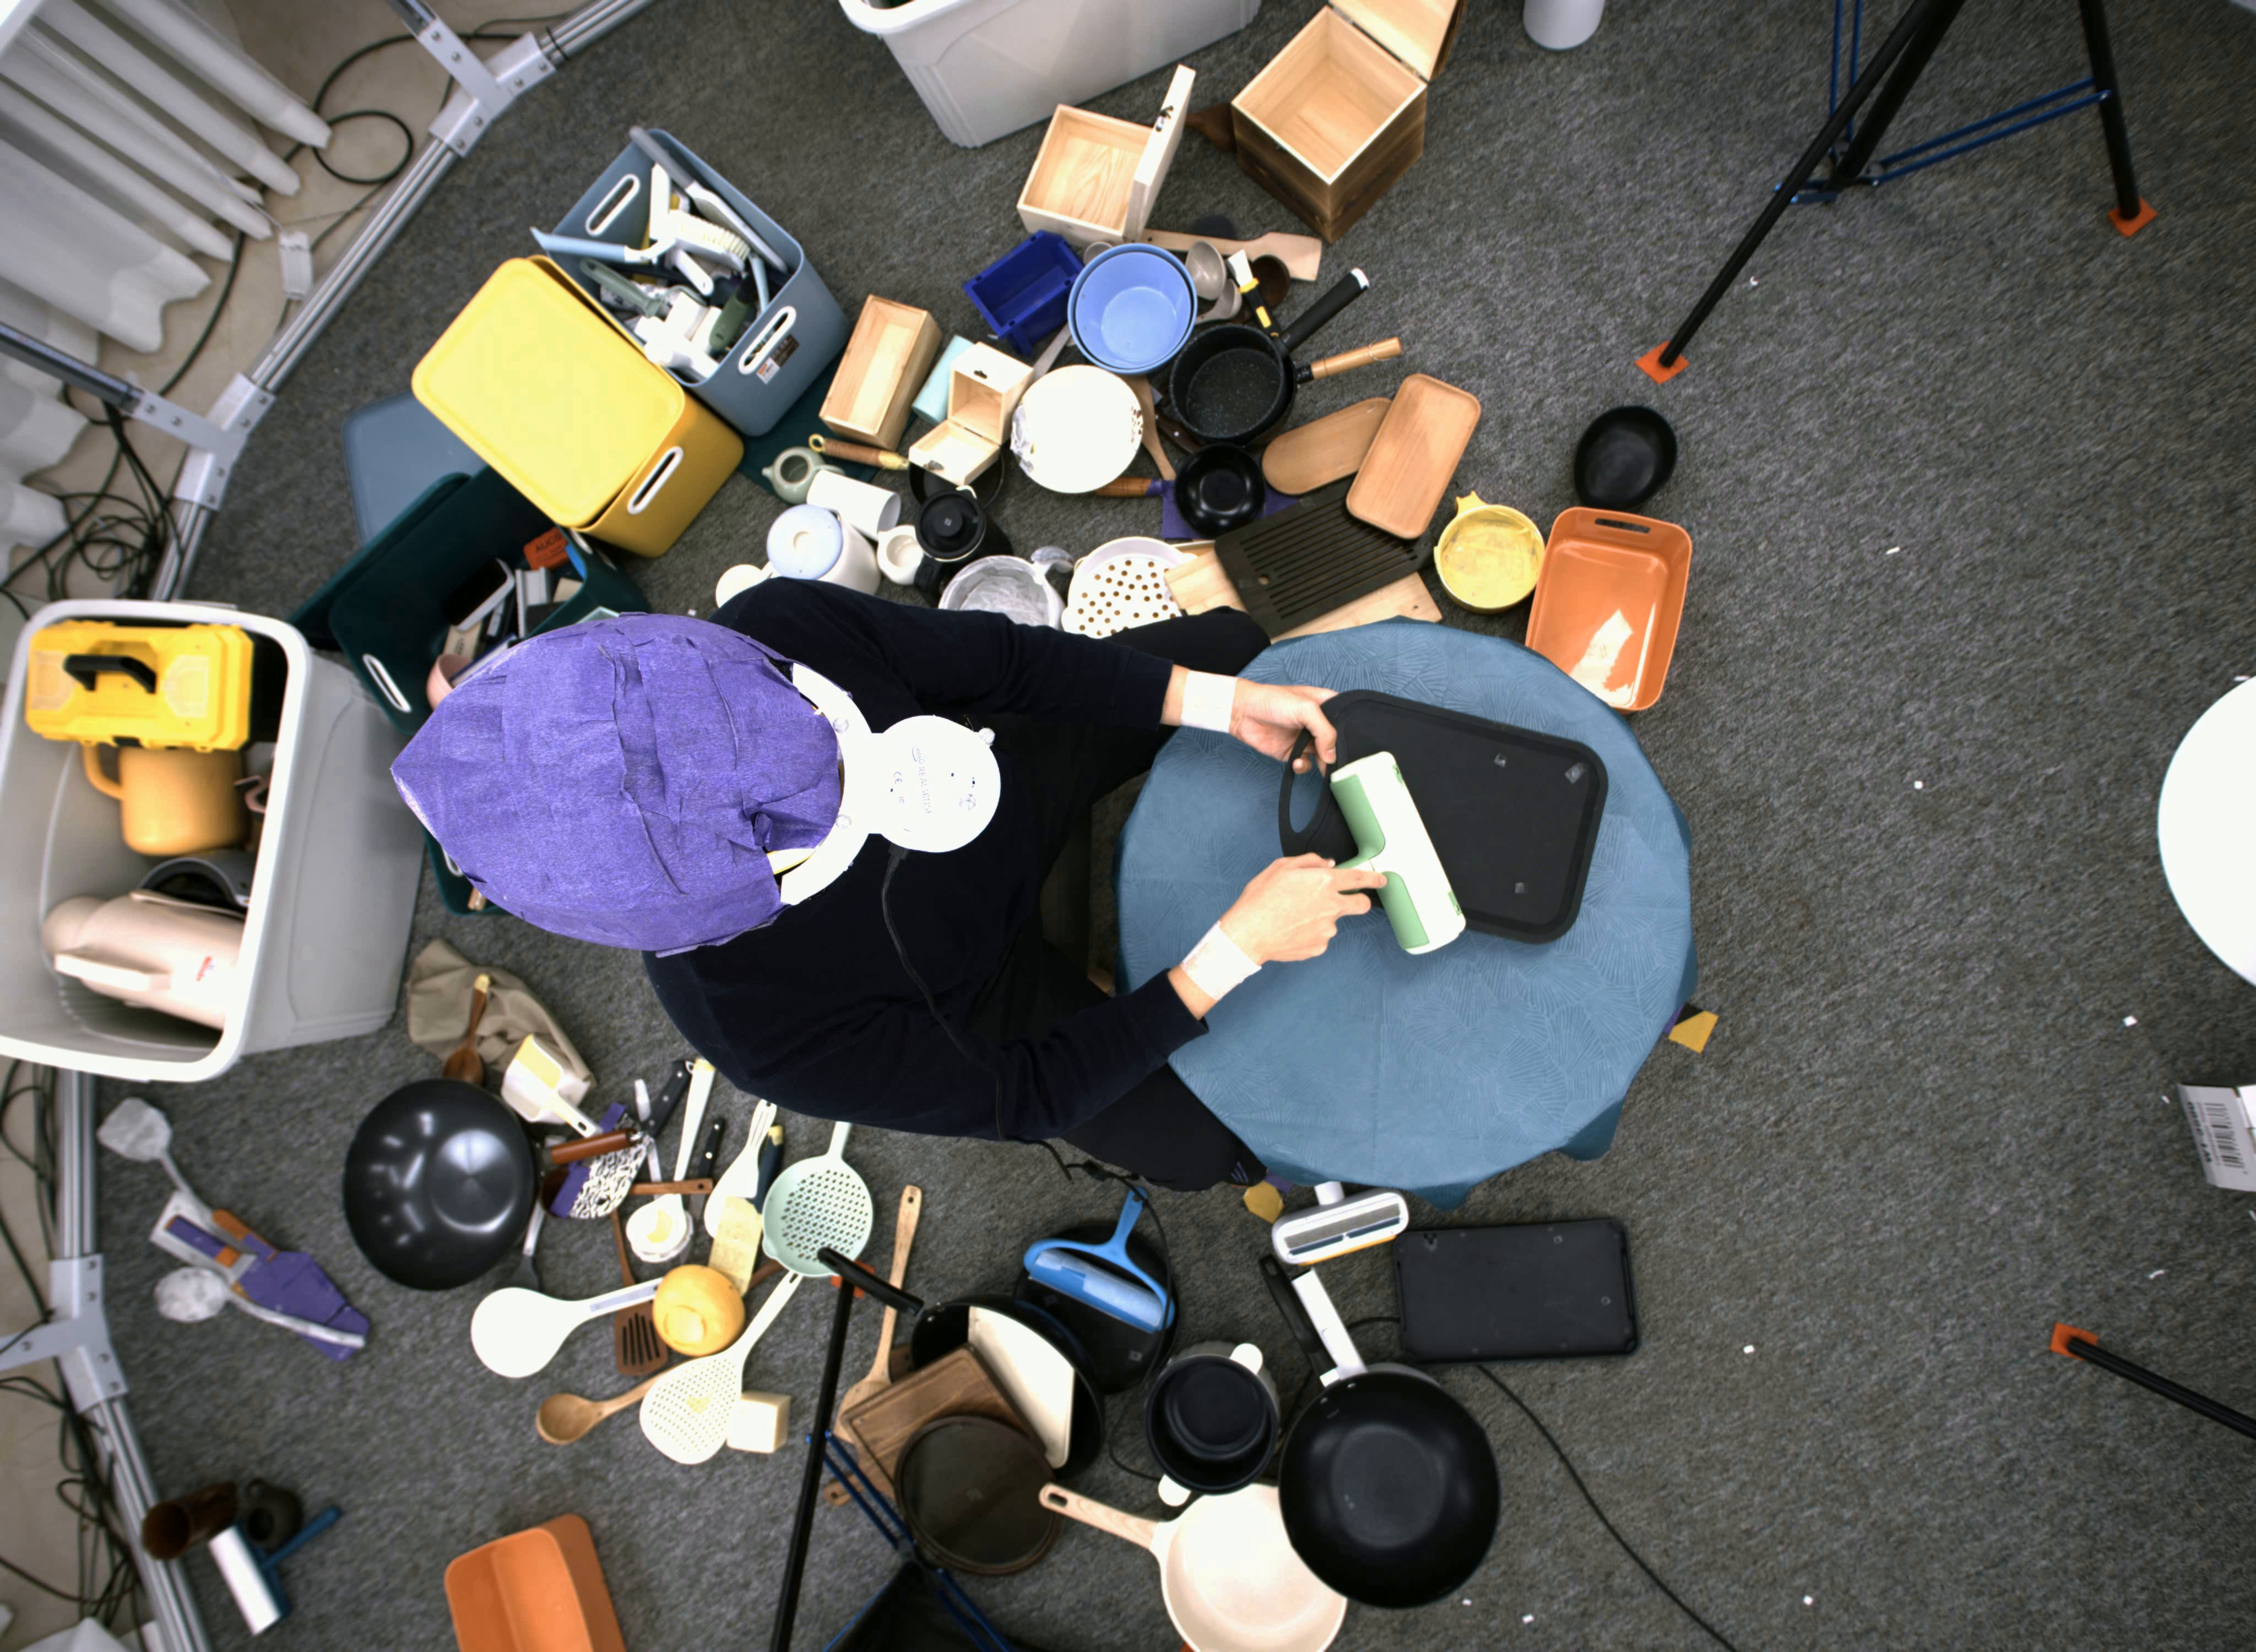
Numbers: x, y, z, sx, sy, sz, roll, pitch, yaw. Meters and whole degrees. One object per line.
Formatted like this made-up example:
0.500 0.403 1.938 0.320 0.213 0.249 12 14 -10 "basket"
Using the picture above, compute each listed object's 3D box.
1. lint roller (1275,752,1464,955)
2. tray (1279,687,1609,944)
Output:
0.224 0.044 1.309 0.180 0.083 0.199 -26 94 -32 "lint roller"
0.311 -0.013 1.369 0.326 0.010 0.211 13 93 -3 "tray"
